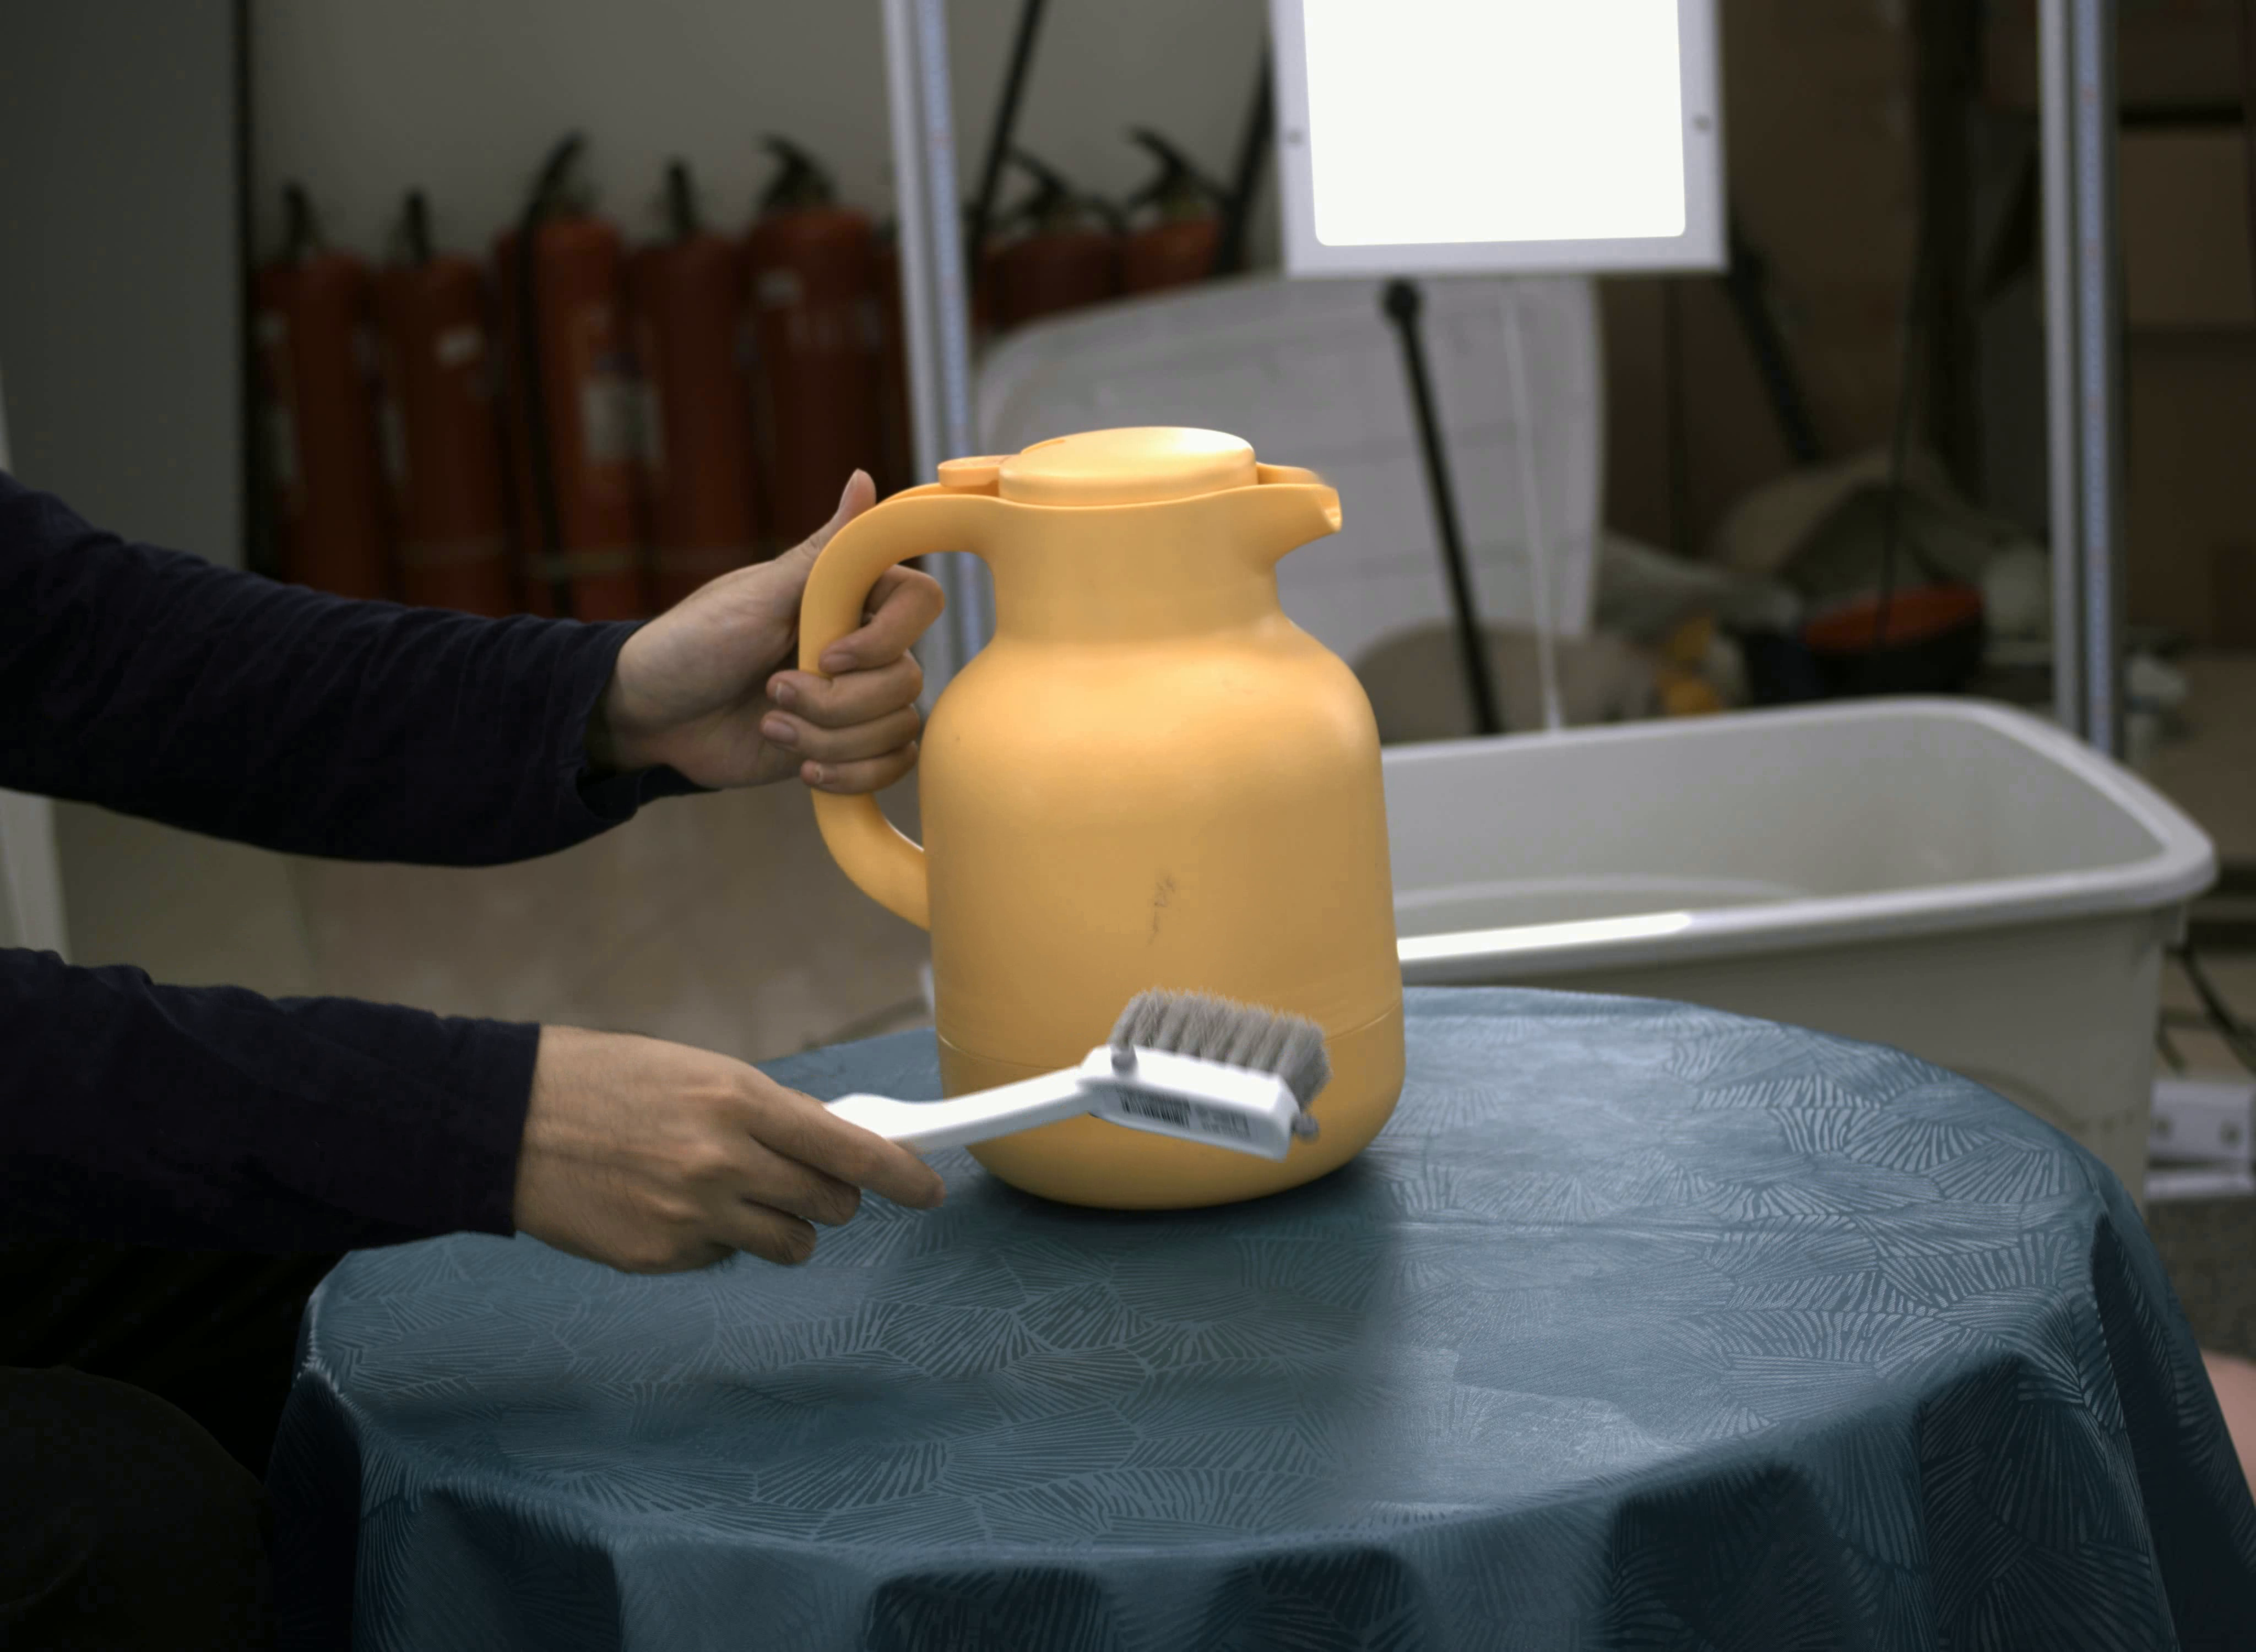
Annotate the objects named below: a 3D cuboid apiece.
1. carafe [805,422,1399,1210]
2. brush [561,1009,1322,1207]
[{"bbox_3d":[-0.010,-0.007,1.901,0.205,0.261,0.161,1,12,19],"label":"carafe"},{"bbox_3d":[-0.060,0.089,1.733,0.245,0.050,0.034,-4,-25,13],"label":"brush"}]
